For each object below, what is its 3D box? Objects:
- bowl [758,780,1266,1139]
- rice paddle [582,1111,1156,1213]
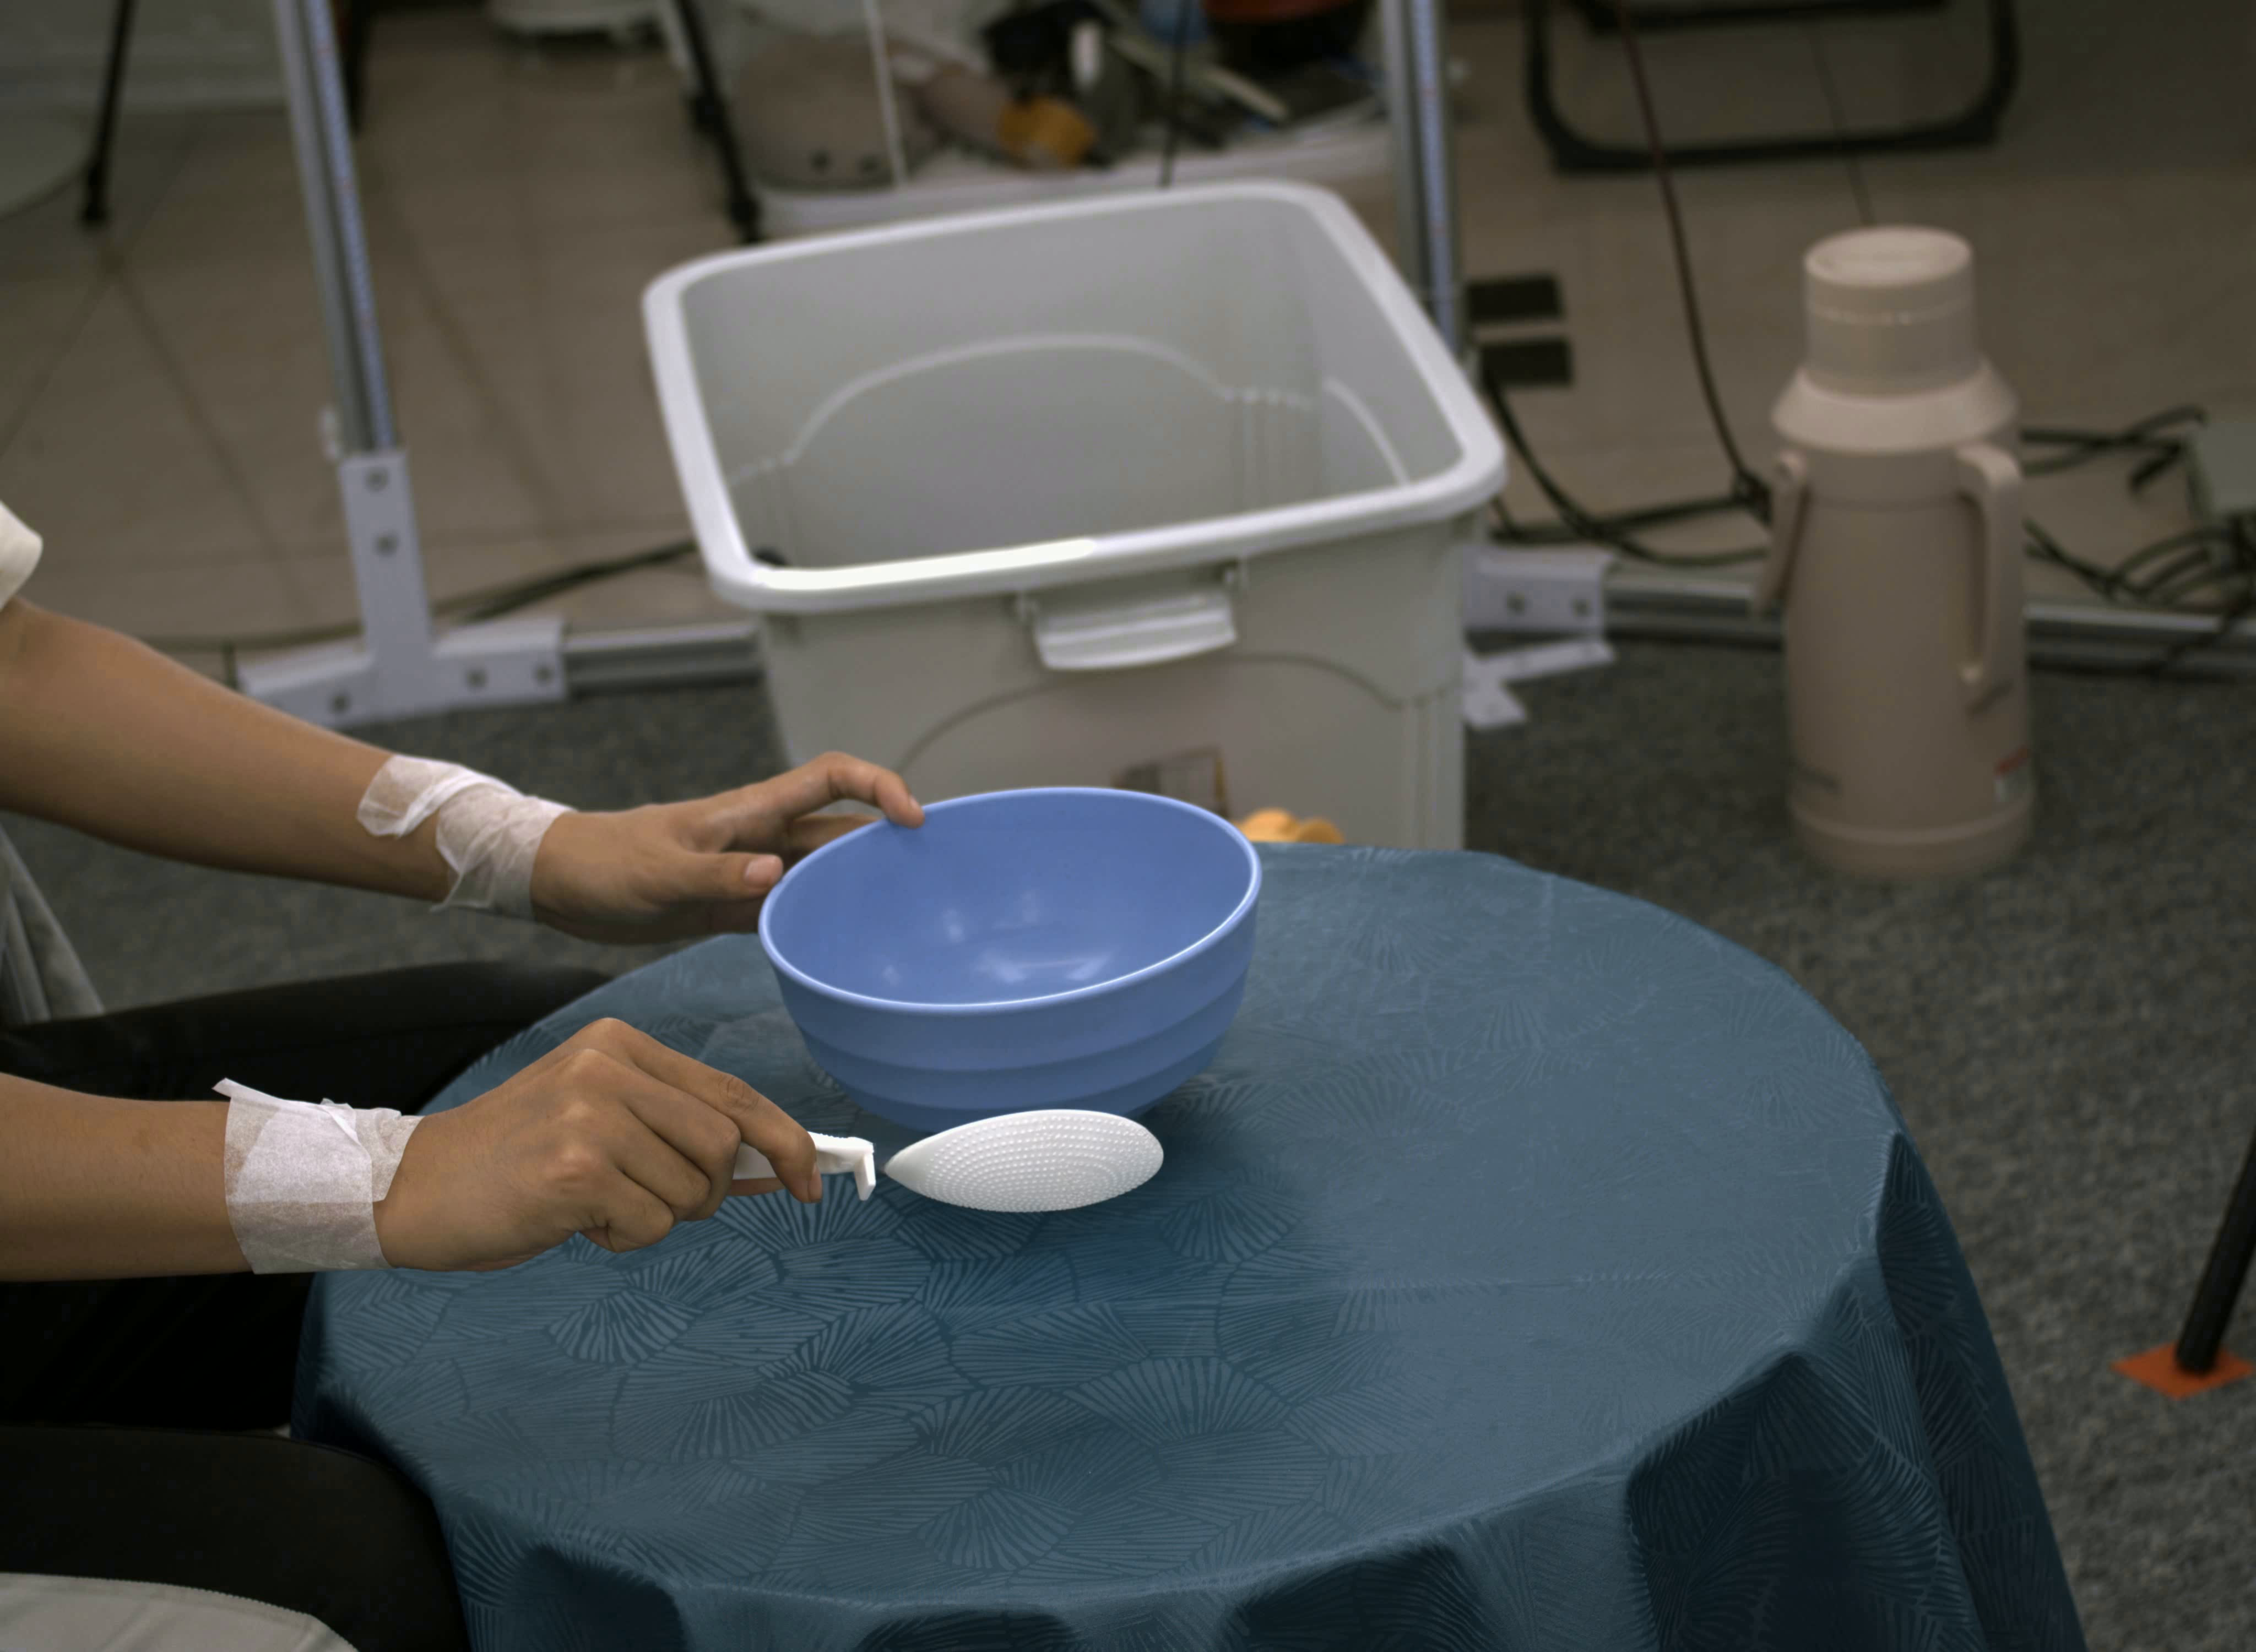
[{"bbox_3d":[-0.042,0.066,2.202,0.196,0.097,0.193,-4,26,2],"label":"bowl"},{"bbox_3d":[-0.087,0.115,1.963,0.205,0.070,0.029,2,58,-21],"label":"rice paddle"}]
